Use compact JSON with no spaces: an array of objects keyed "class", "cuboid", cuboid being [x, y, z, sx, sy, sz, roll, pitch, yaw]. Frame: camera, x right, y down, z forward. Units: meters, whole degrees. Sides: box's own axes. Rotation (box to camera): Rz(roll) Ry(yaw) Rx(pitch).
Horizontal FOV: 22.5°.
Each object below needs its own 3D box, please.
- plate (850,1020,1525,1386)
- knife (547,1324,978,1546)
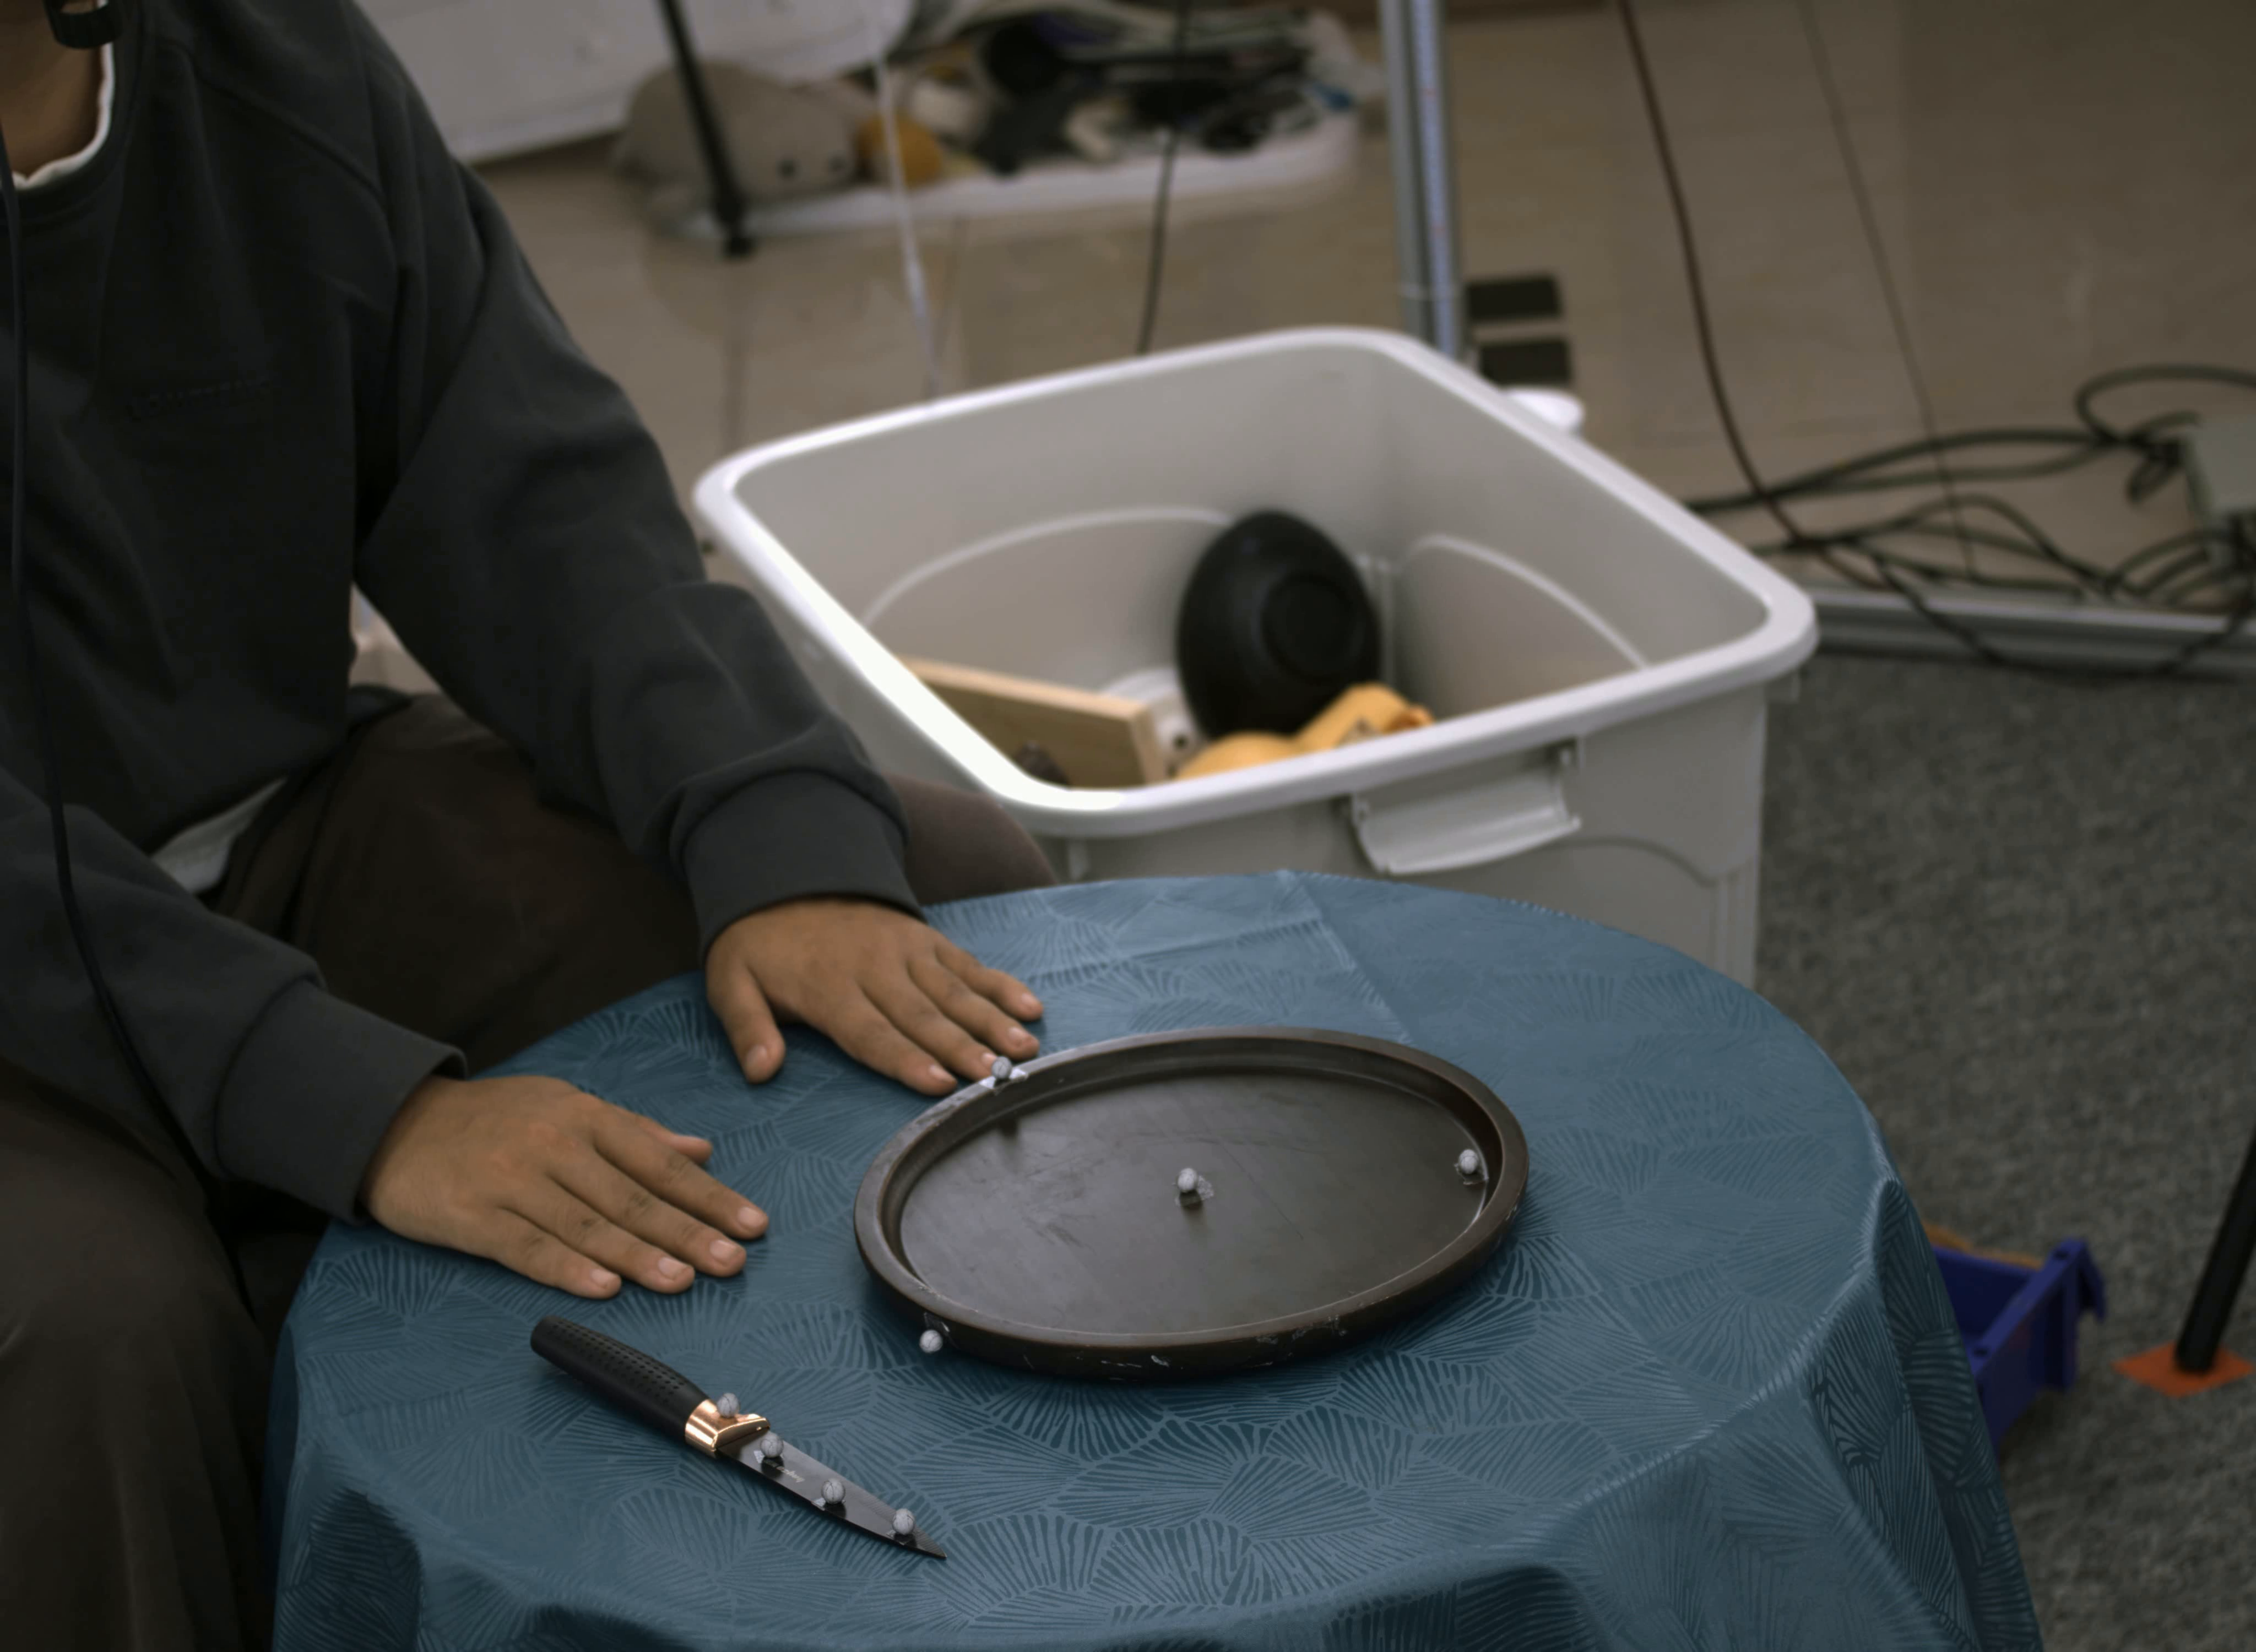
[{"class":"plate","cuboid":[0.023,0.139,2.115,0.254,0.029,0.251,-7,24,3]},{"class":"knife","cuboid":[-0.131,0.216,2.001,0.026,0.017,0.223,-19,28,-39]}]
